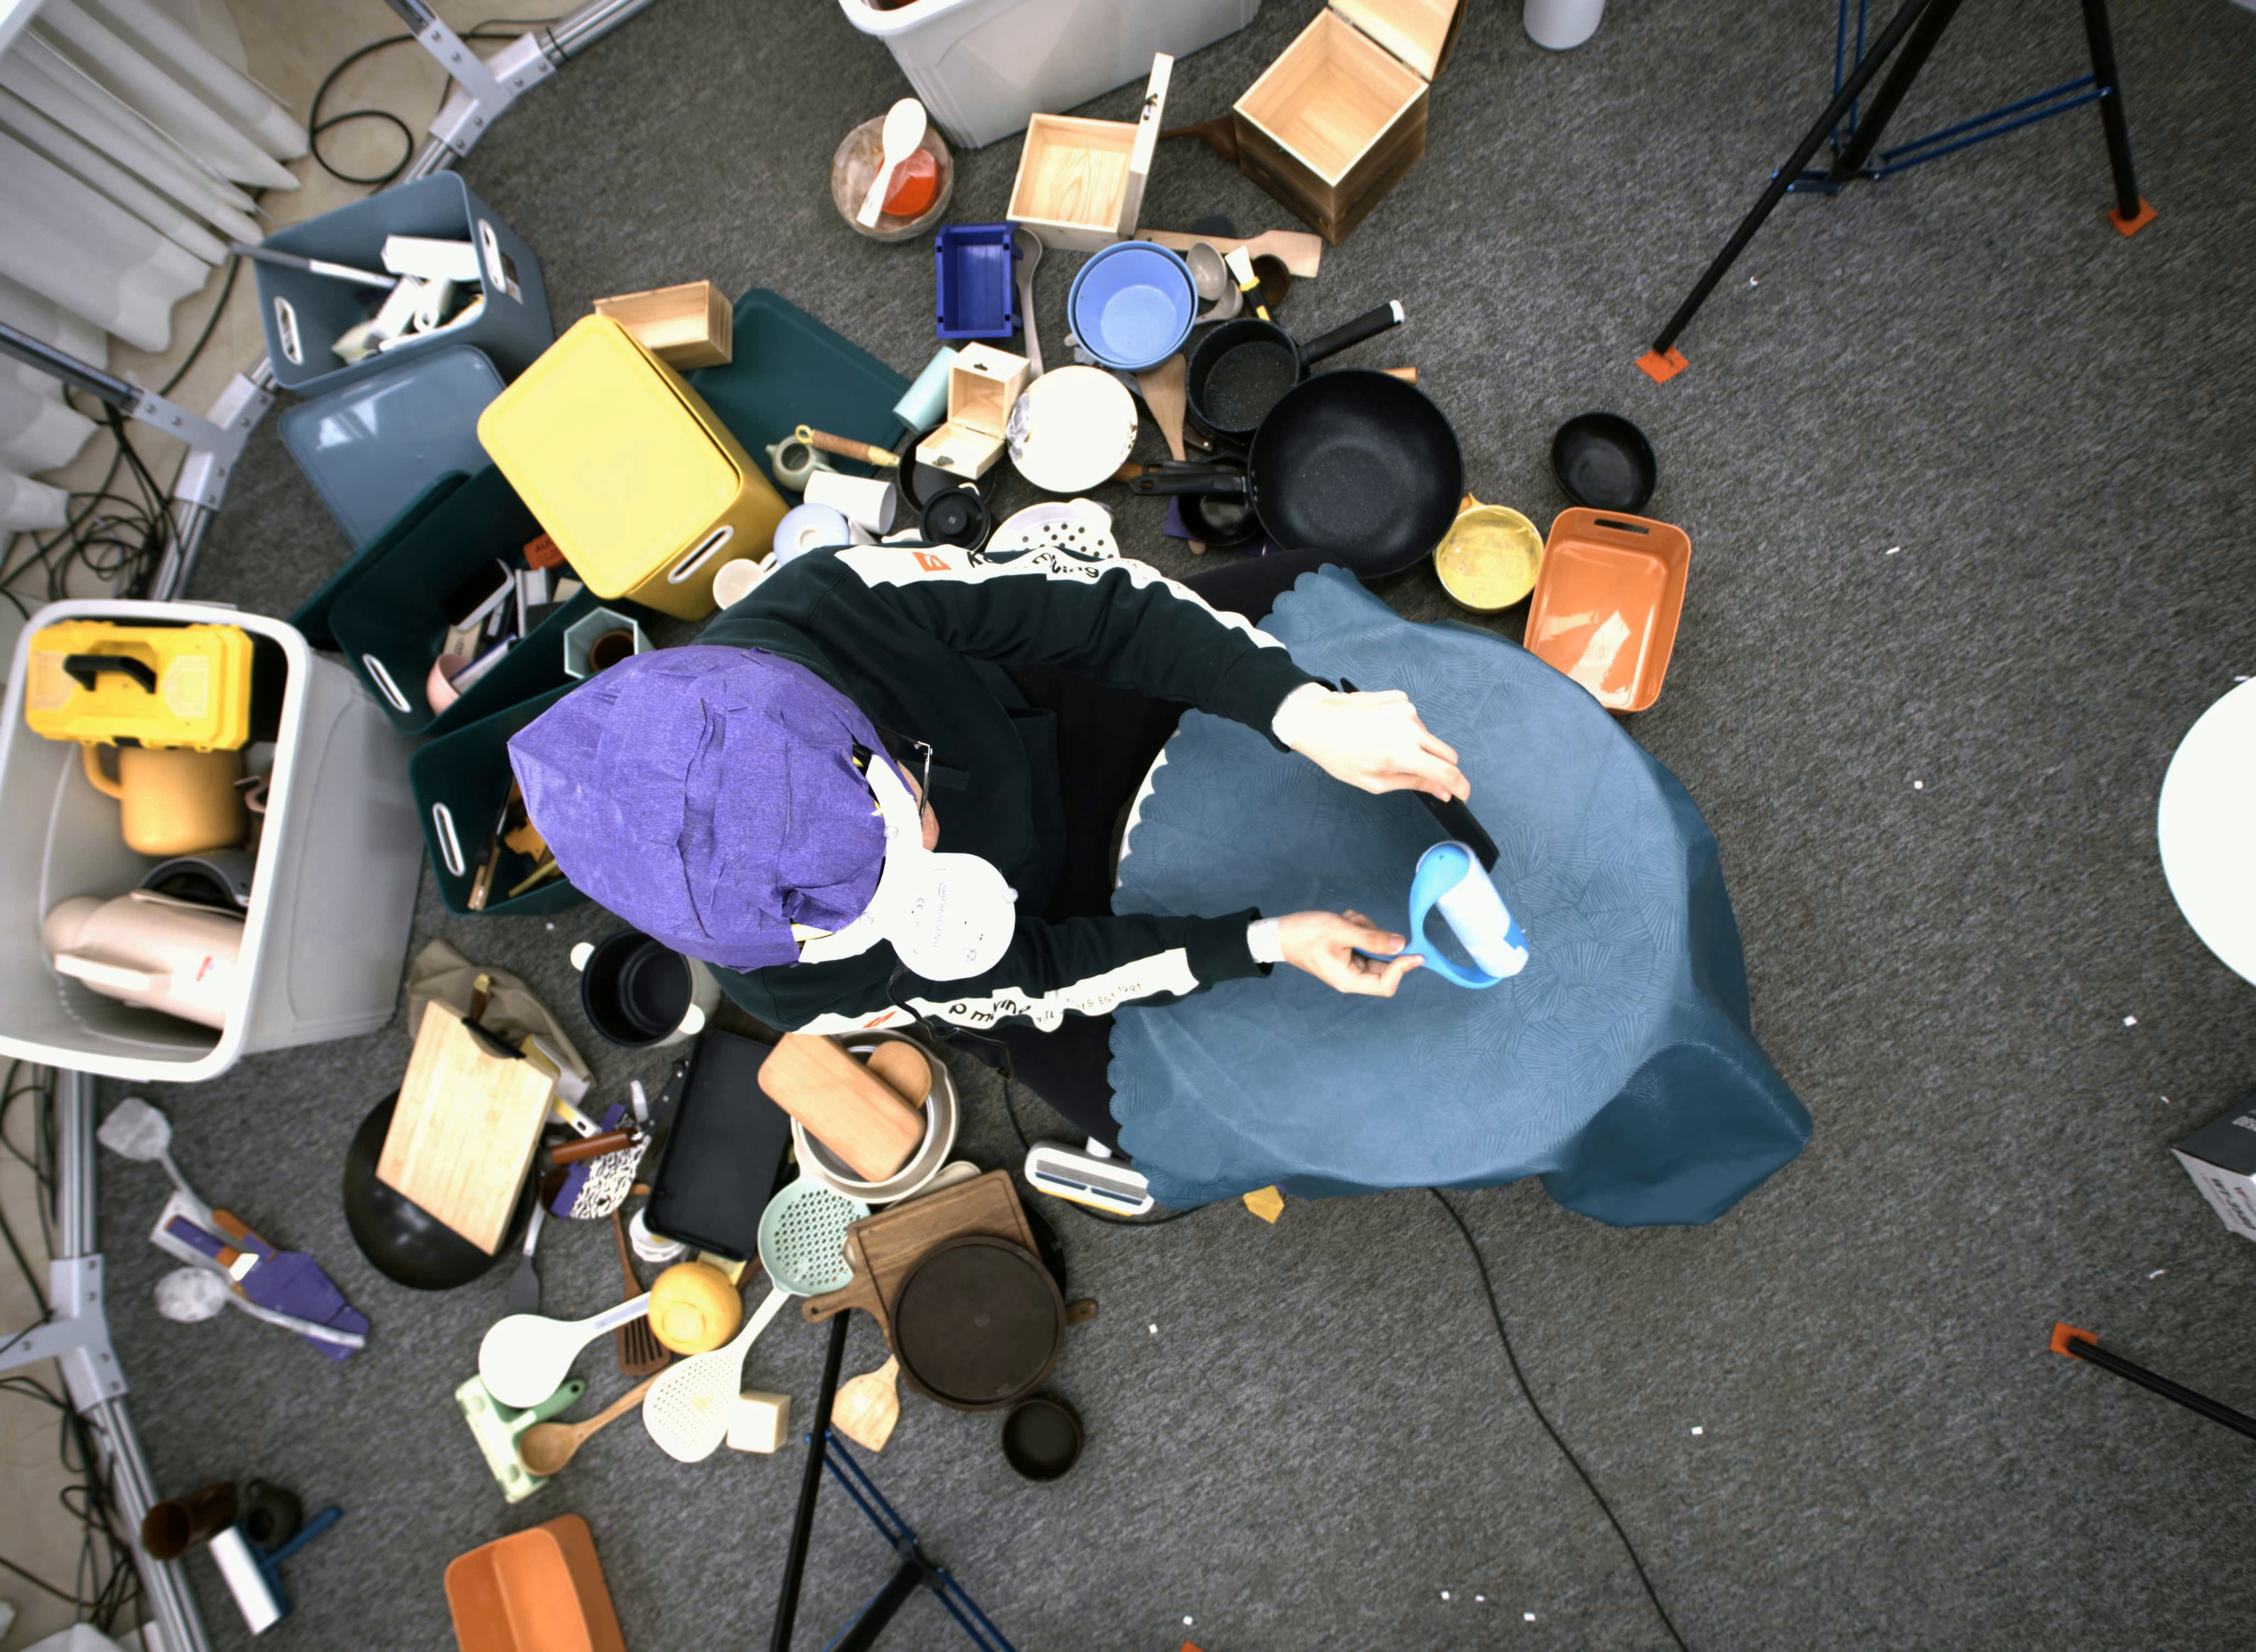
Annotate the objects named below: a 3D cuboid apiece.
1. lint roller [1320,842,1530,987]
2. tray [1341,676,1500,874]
[{"bbox_3d":[0.269,0.096,1.292,0.182,0.231,0.066,-18,57,25],"label":"lint roller"},{"bbox_3d":[0.277,-0.045,1.293,0.010,0.325,0.210,-41,77,6],"label":"tray"}]
